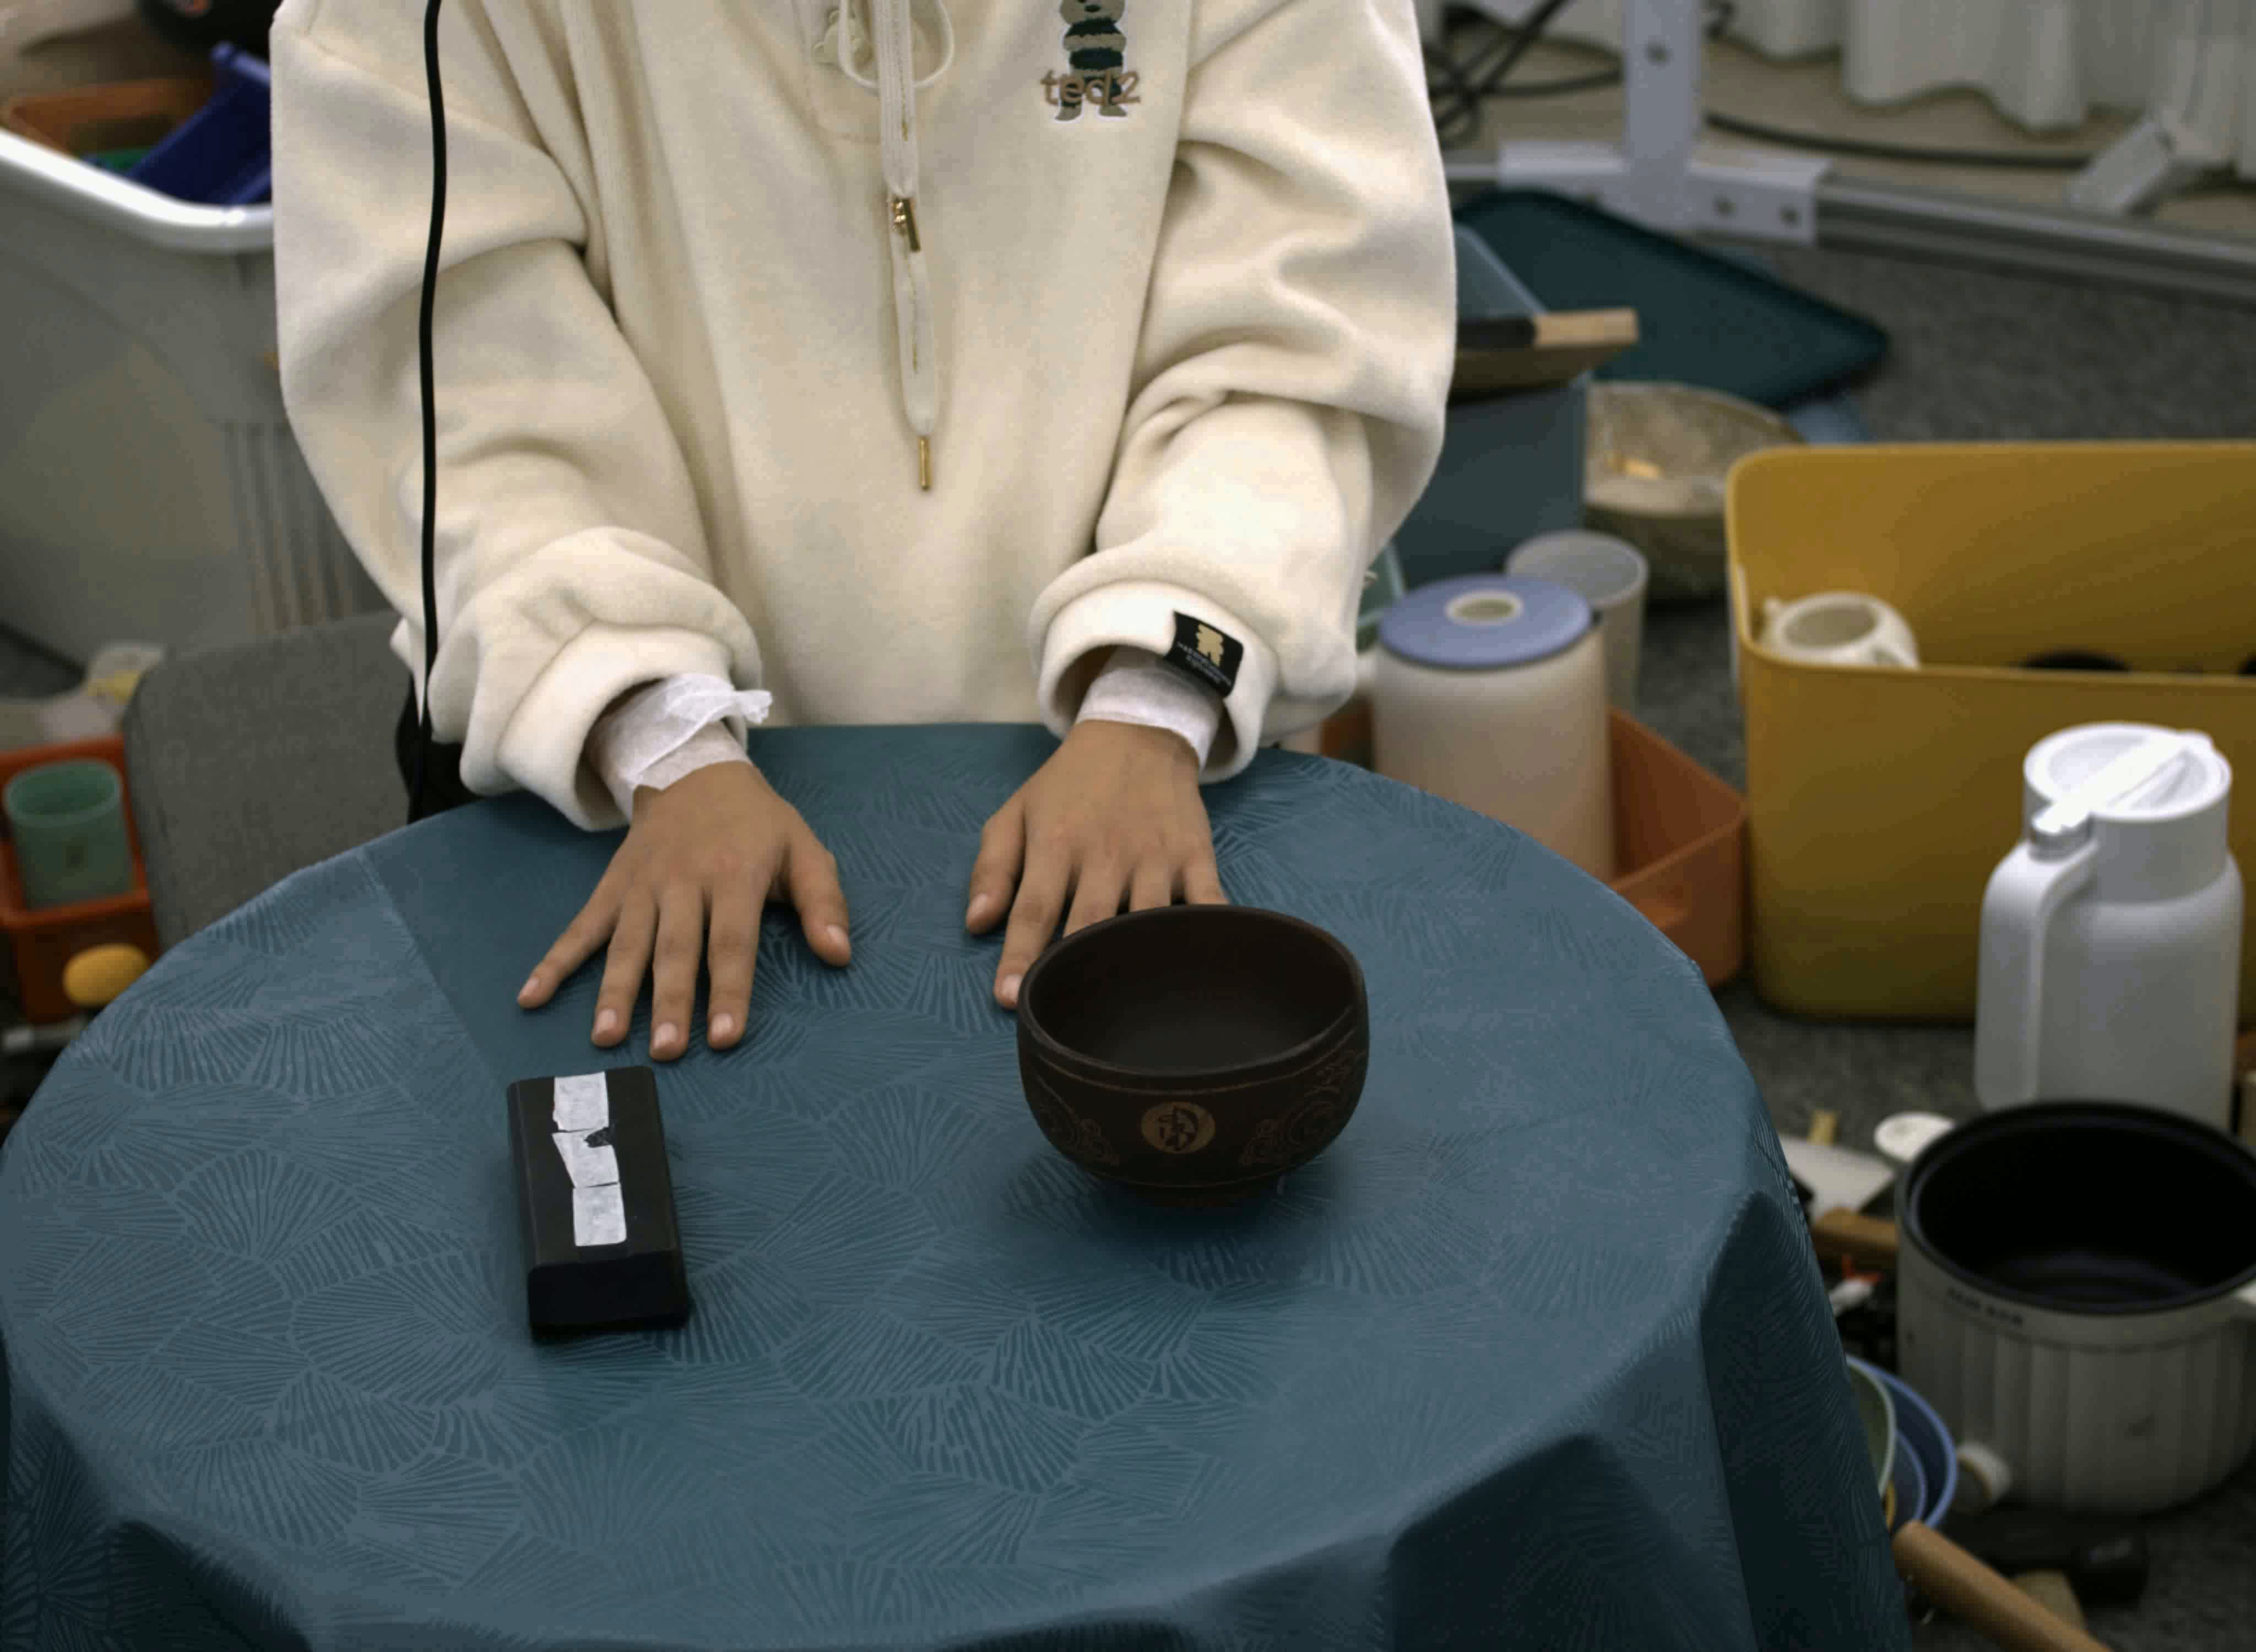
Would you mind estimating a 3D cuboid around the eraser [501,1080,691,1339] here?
[{"bbox_3d":[-0.175,0.125,1.843,0.053,0.030,0.127,-6,25,-8],"label":"eraser"}]

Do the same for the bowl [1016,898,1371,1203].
[{"bbox_3d":[0.022,0.081,1.860,0.117,0.069,0.120,-3,26,2],"label":"bowl"}]
